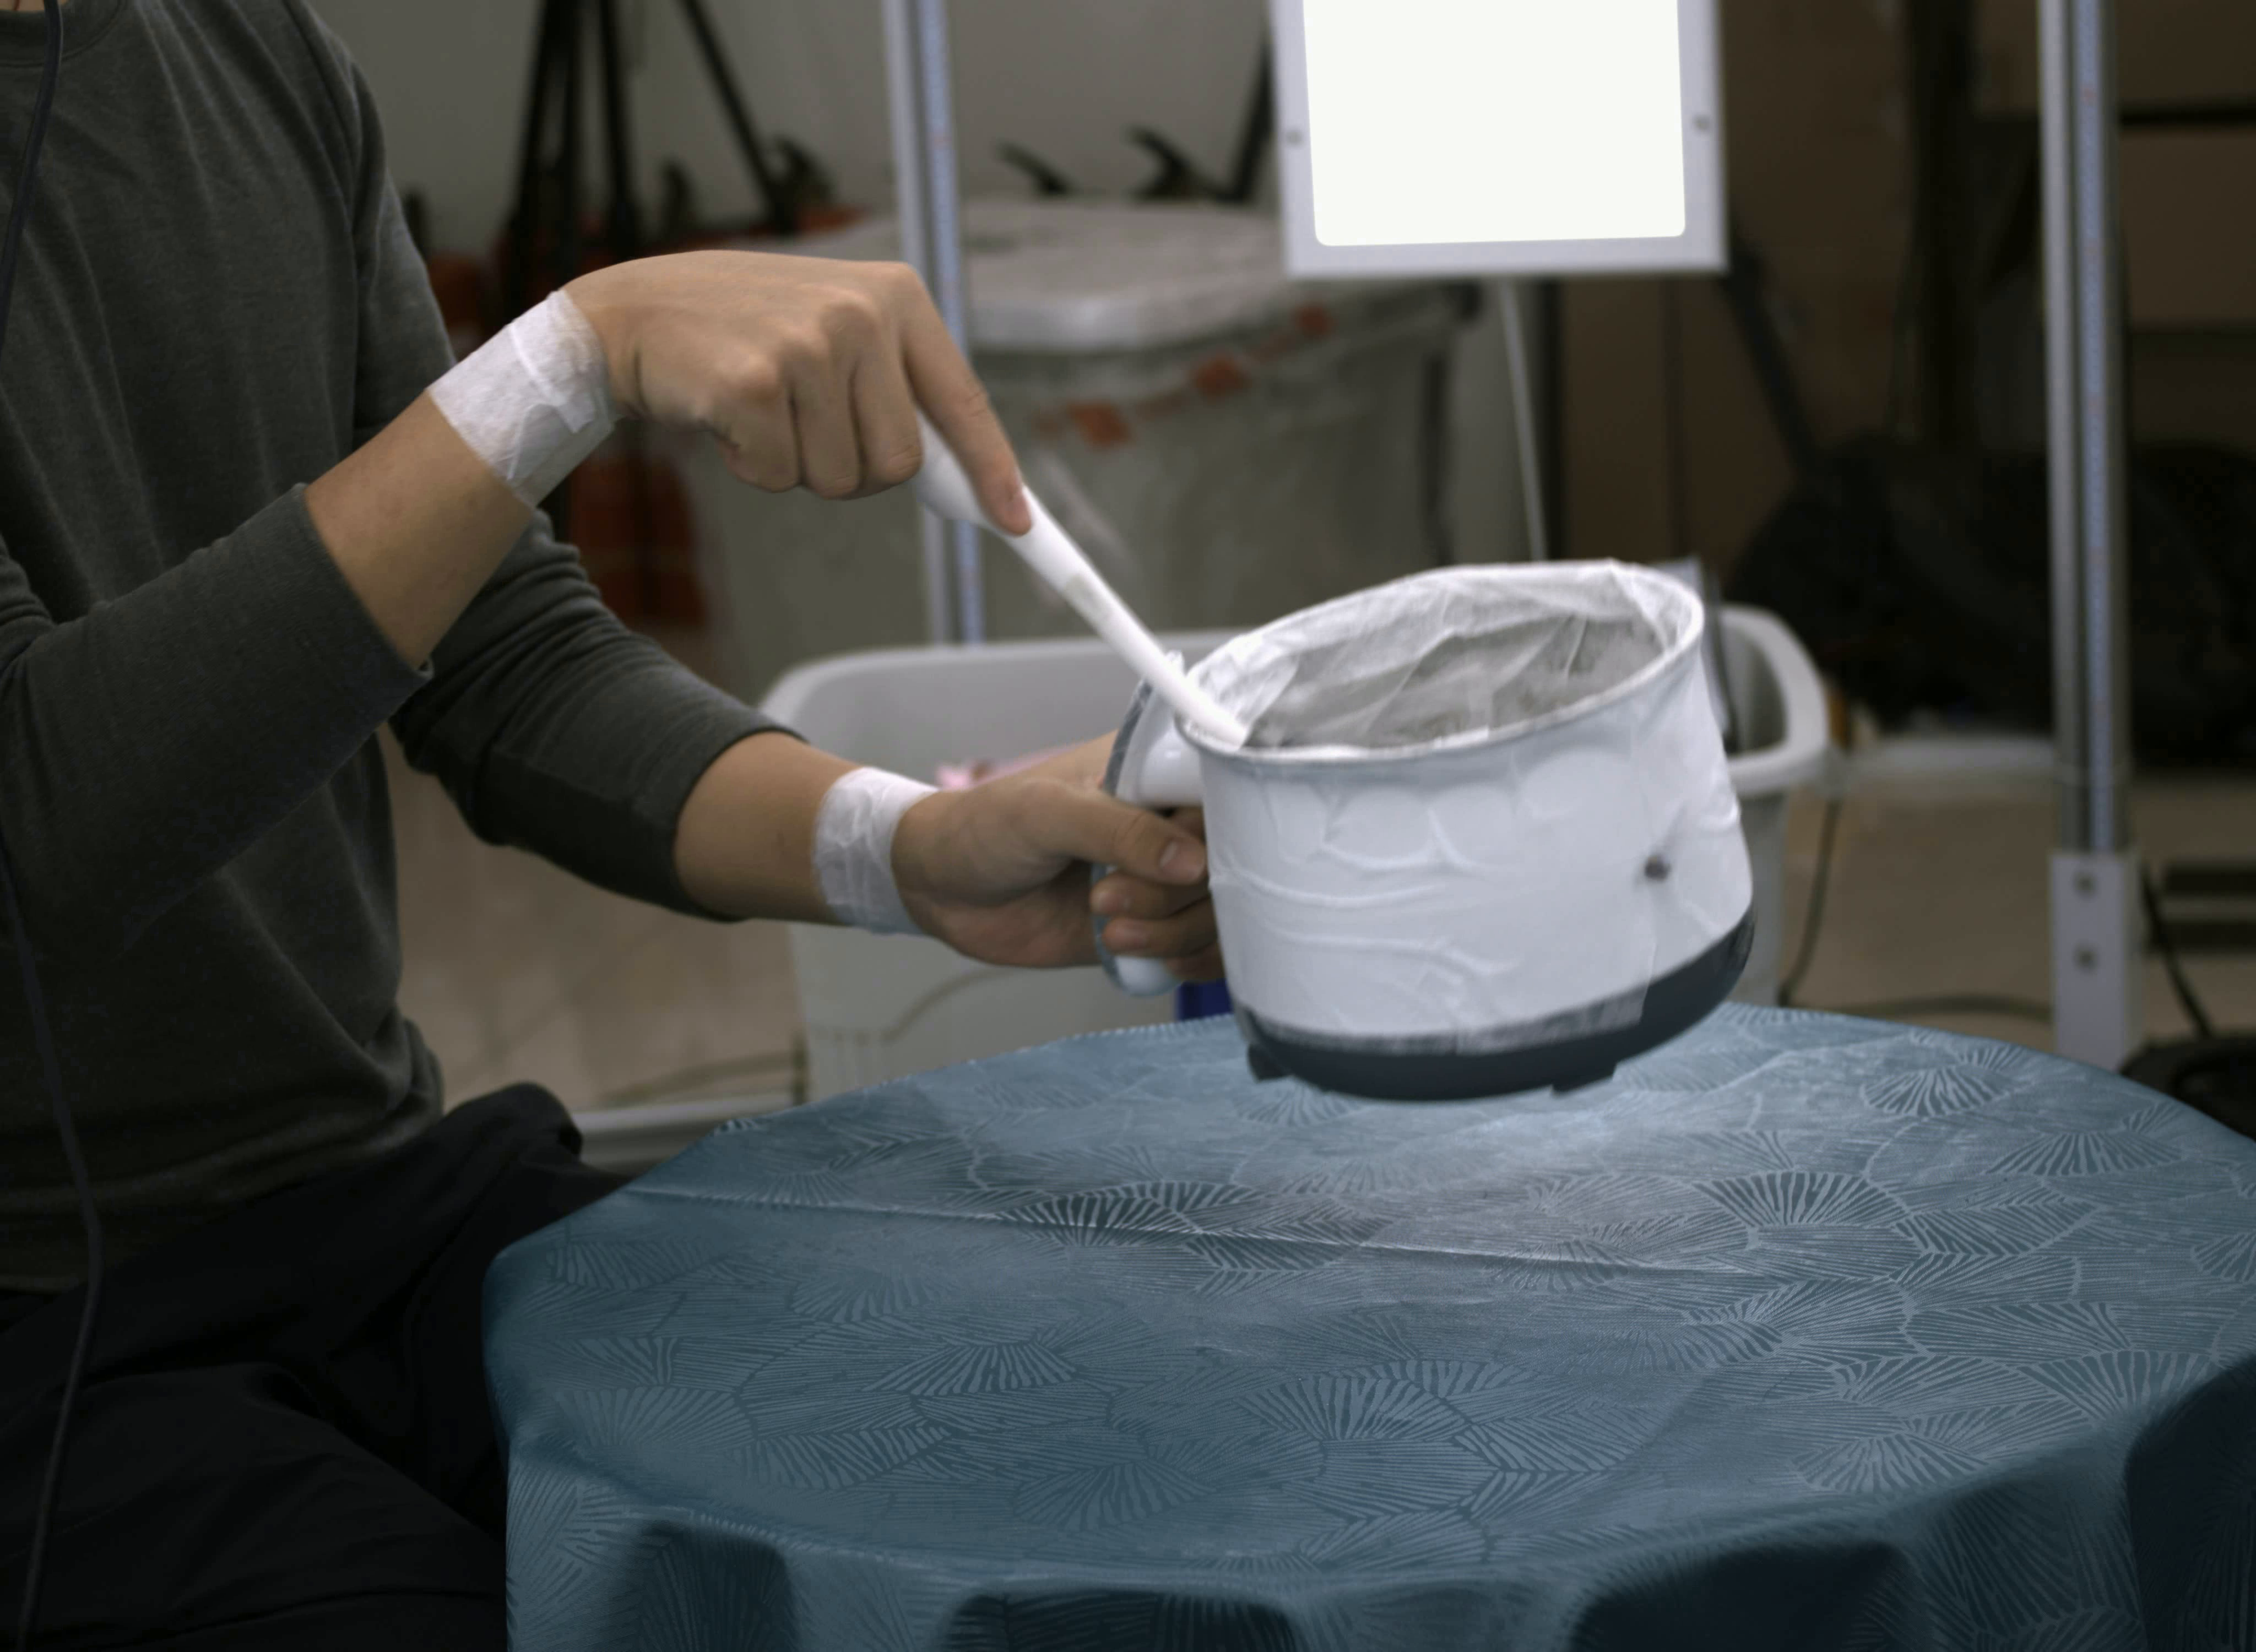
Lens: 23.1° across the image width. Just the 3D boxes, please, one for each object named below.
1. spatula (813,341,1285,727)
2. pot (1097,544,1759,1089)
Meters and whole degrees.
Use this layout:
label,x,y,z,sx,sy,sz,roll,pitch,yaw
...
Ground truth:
label,x,y,z,sx,sy,sz,roll,pitch,yaw
spatula,0.022,-0.059,1.776,0.286,0.032,0.058,36,23,-6
pot,0.090,-0.001,1.818,0.238,0.137,0.175,-3,21,30
